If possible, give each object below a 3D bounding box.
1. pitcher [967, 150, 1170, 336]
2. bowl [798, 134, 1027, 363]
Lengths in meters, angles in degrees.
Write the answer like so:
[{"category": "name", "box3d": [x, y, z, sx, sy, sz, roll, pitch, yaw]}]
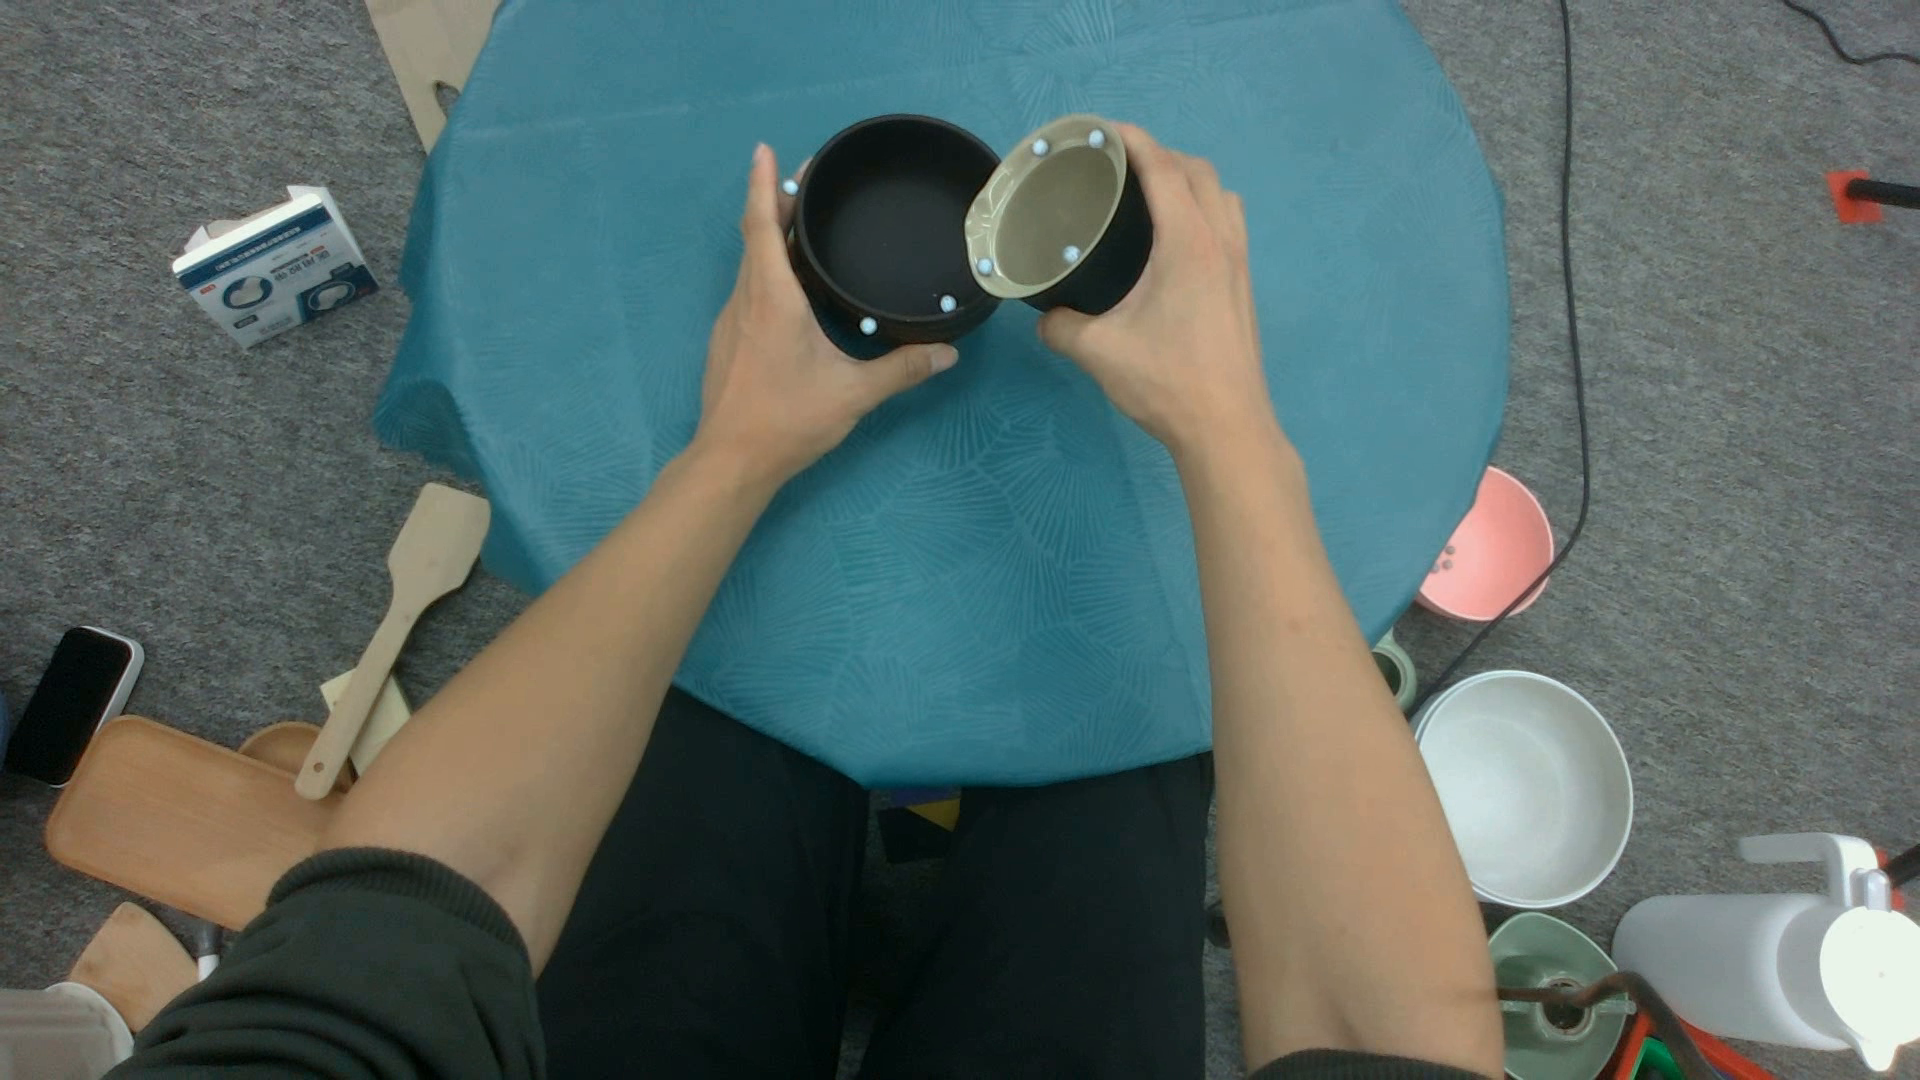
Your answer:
[{"category": "pitcher", "box3d": [0.058, -0.140, 0.678, 0.071, 0.096, 0.084, 22, 85, -42]}, {"category": "bowl", "box3d": [-0.027, -0.148, 0.733, 0.118, 0.069, 0.118, 3, 72, -8]}]
